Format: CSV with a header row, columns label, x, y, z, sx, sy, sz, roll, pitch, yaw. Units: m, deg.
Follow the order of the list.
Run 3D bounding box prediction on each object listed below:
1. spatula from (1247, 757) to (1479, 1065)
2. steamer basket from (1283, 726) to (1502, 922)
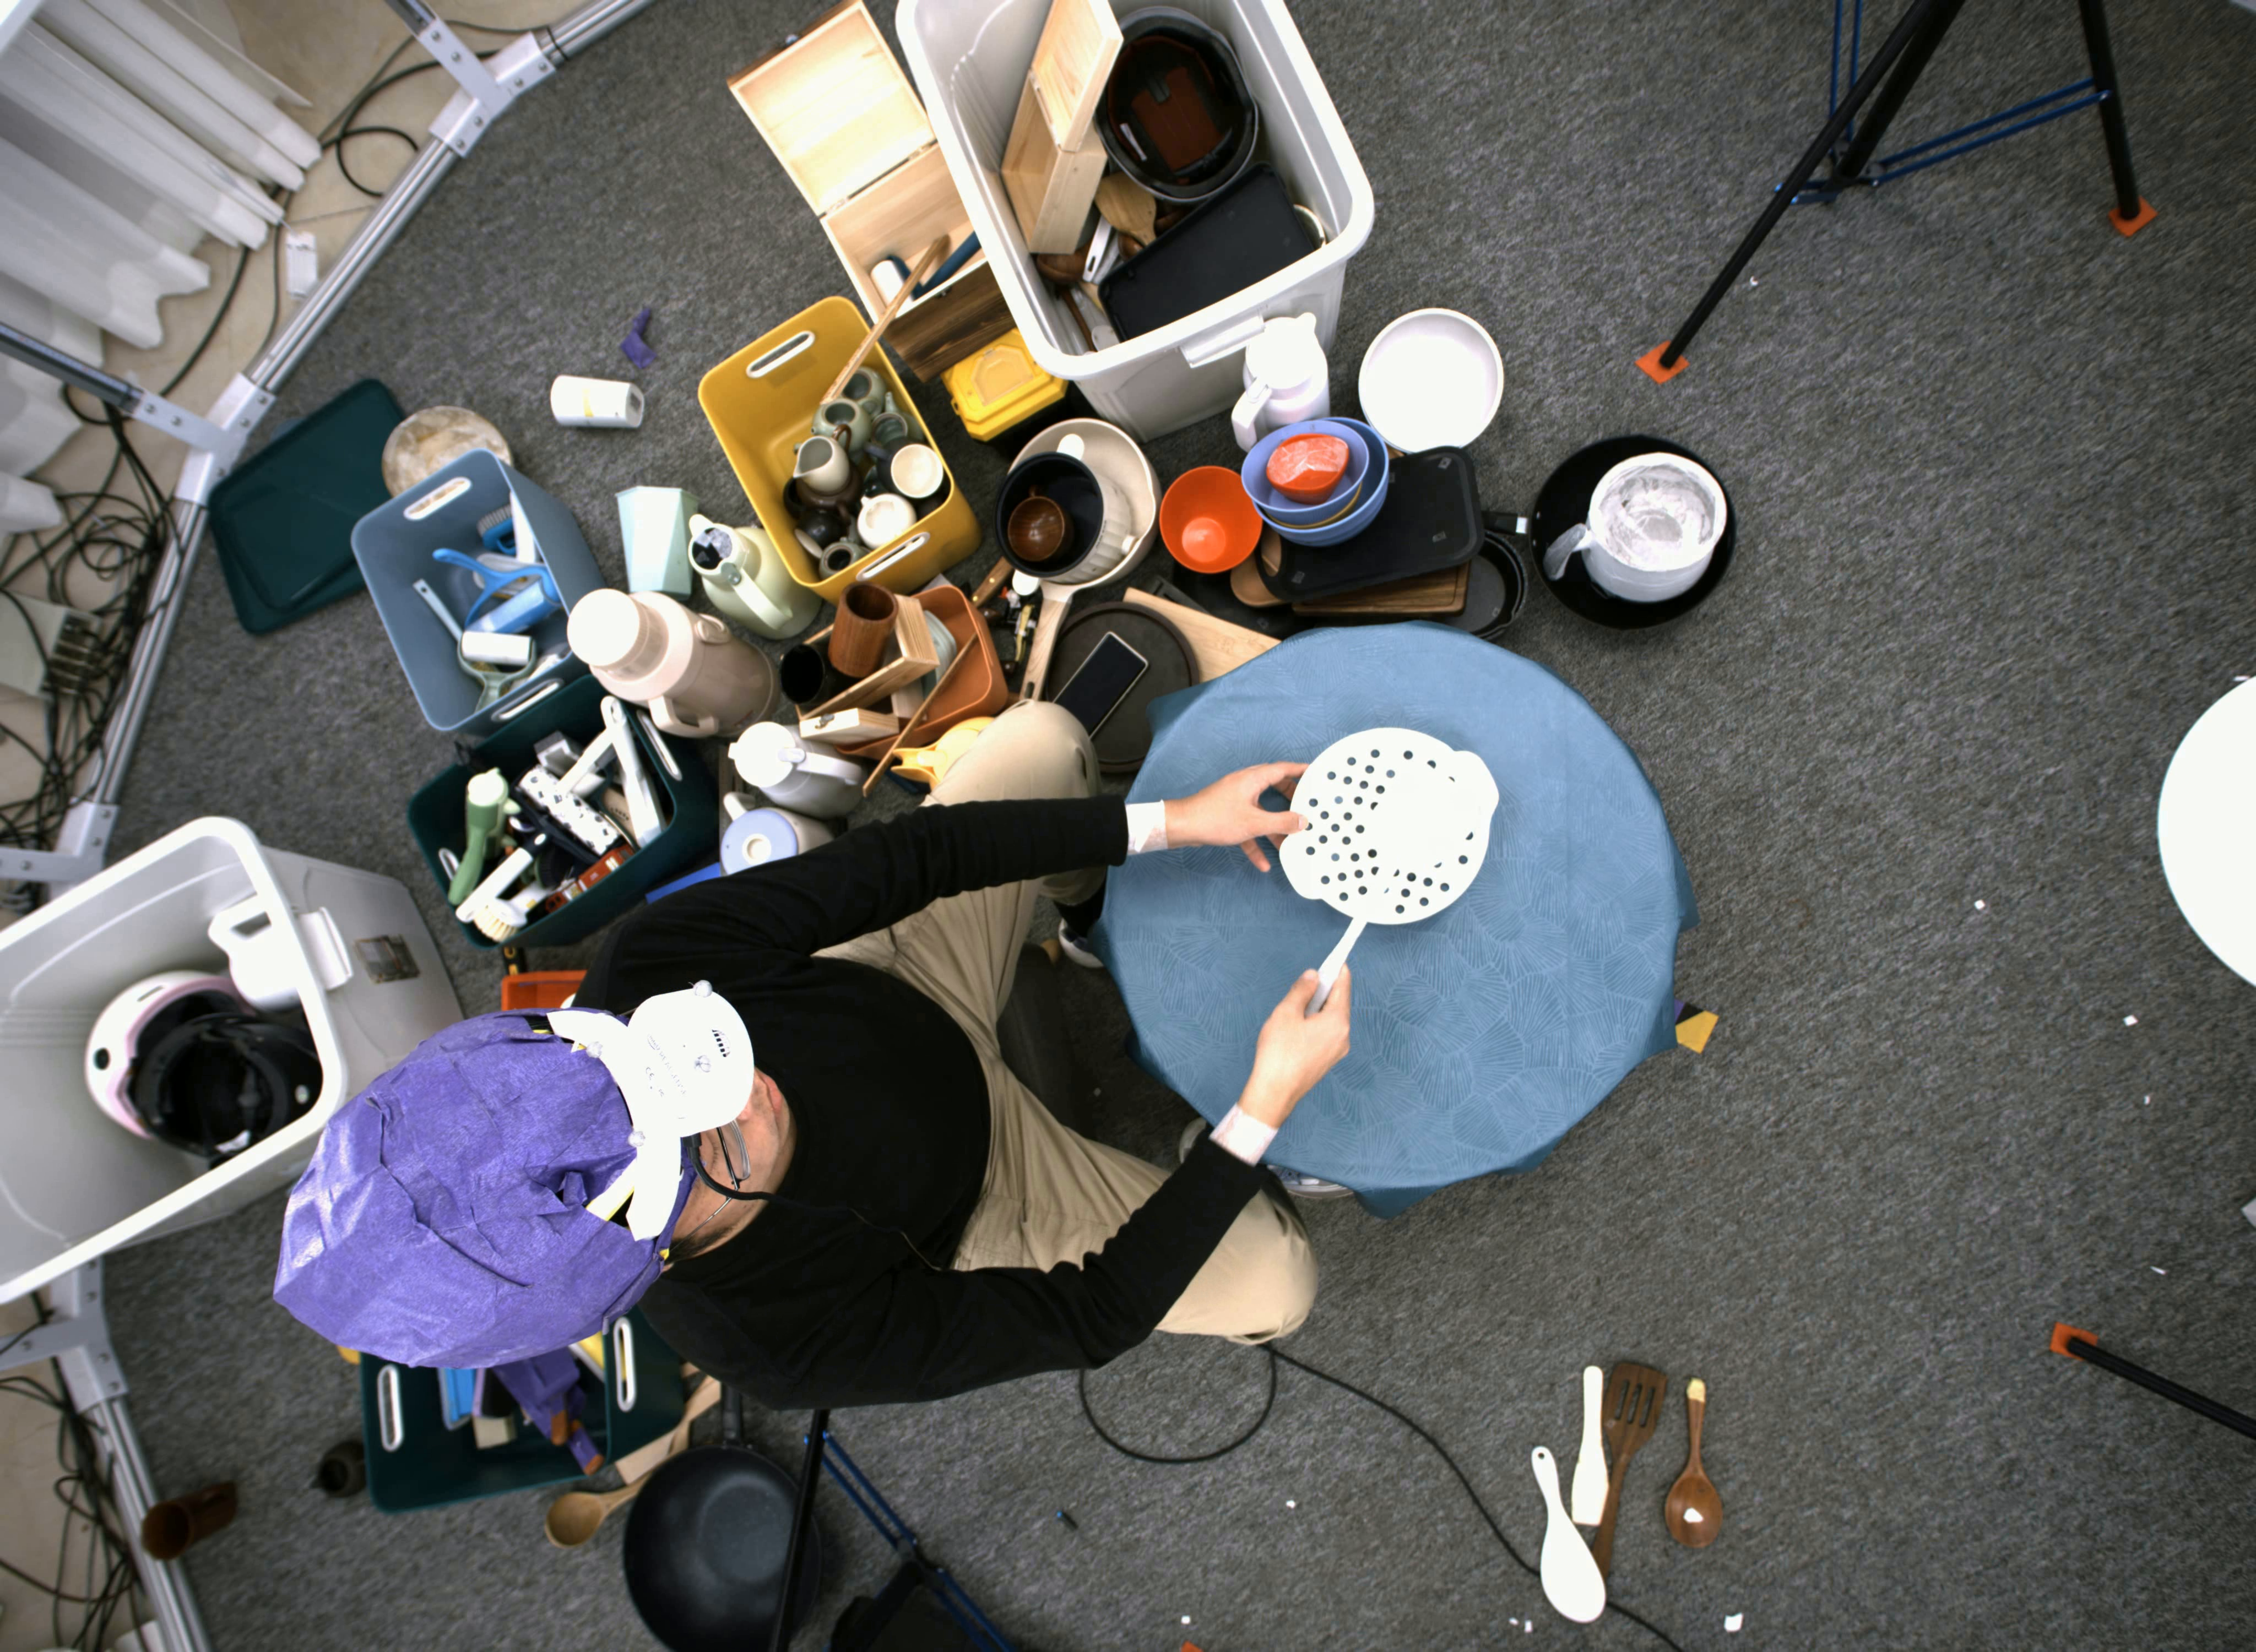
label,x,y,z,sx,sy,sz,roll,pitch,yaw
spatula,0.225,0.089,1.354,0.099,0.045,0.359,38,70,-7
steamer basket,0.274,-0.001,1.428,0.232,0.069,0.200,-27,81,9
